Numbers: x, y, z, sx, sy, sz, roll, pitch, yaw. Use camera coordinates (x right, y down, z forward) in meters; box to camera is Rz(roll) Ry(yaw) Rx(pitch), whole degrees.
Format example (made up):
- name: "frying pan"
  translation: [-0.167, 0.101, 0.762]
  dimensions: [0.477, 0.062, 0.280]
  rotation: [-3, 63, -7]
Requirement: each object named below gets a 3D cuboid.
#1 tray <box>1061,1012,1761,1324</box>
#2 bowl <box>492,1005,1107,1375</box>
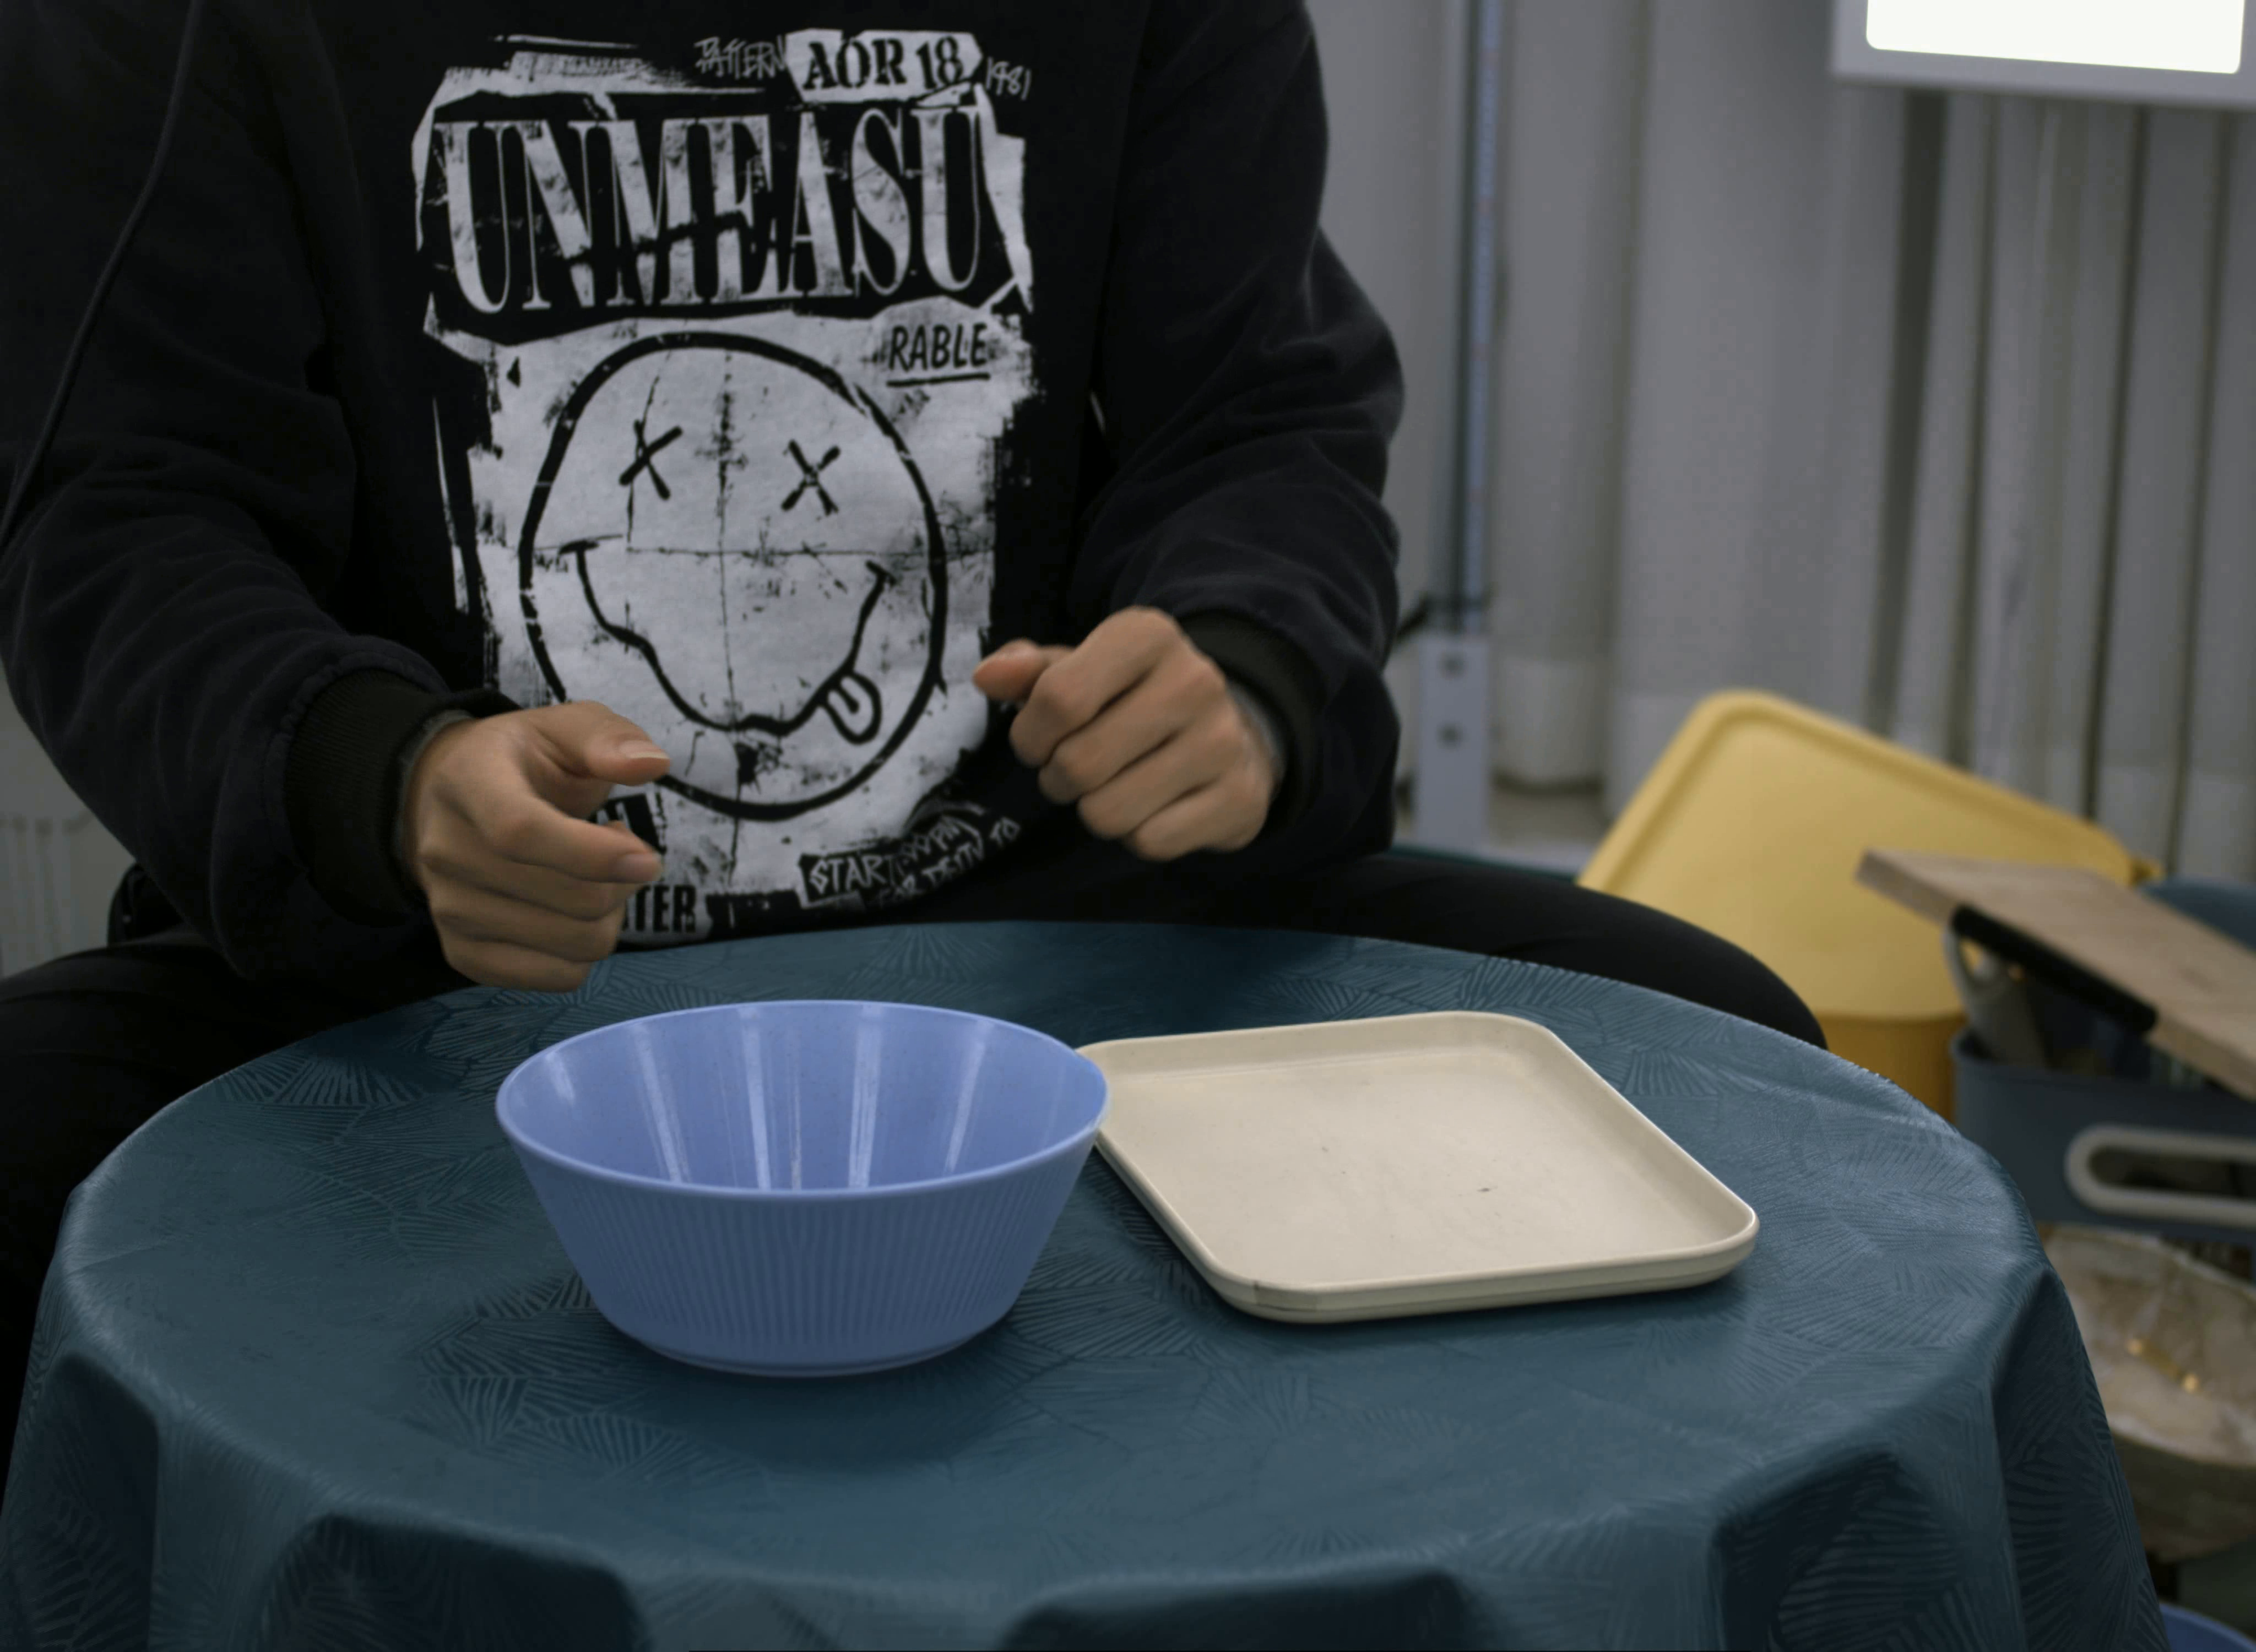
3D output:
- name: "tray"
  translation: [0.081, 0.104, 1.627]
  dimensions: [0.171, 0.017, 0.237]
  rotation: [-3, 16, -15]
- name: "bowl"
  translation: [-0.094, 0.107, 1.512]
  dimensions: [0.175, 0.071, 0.175]
  rotation: [2, 16, 0]
